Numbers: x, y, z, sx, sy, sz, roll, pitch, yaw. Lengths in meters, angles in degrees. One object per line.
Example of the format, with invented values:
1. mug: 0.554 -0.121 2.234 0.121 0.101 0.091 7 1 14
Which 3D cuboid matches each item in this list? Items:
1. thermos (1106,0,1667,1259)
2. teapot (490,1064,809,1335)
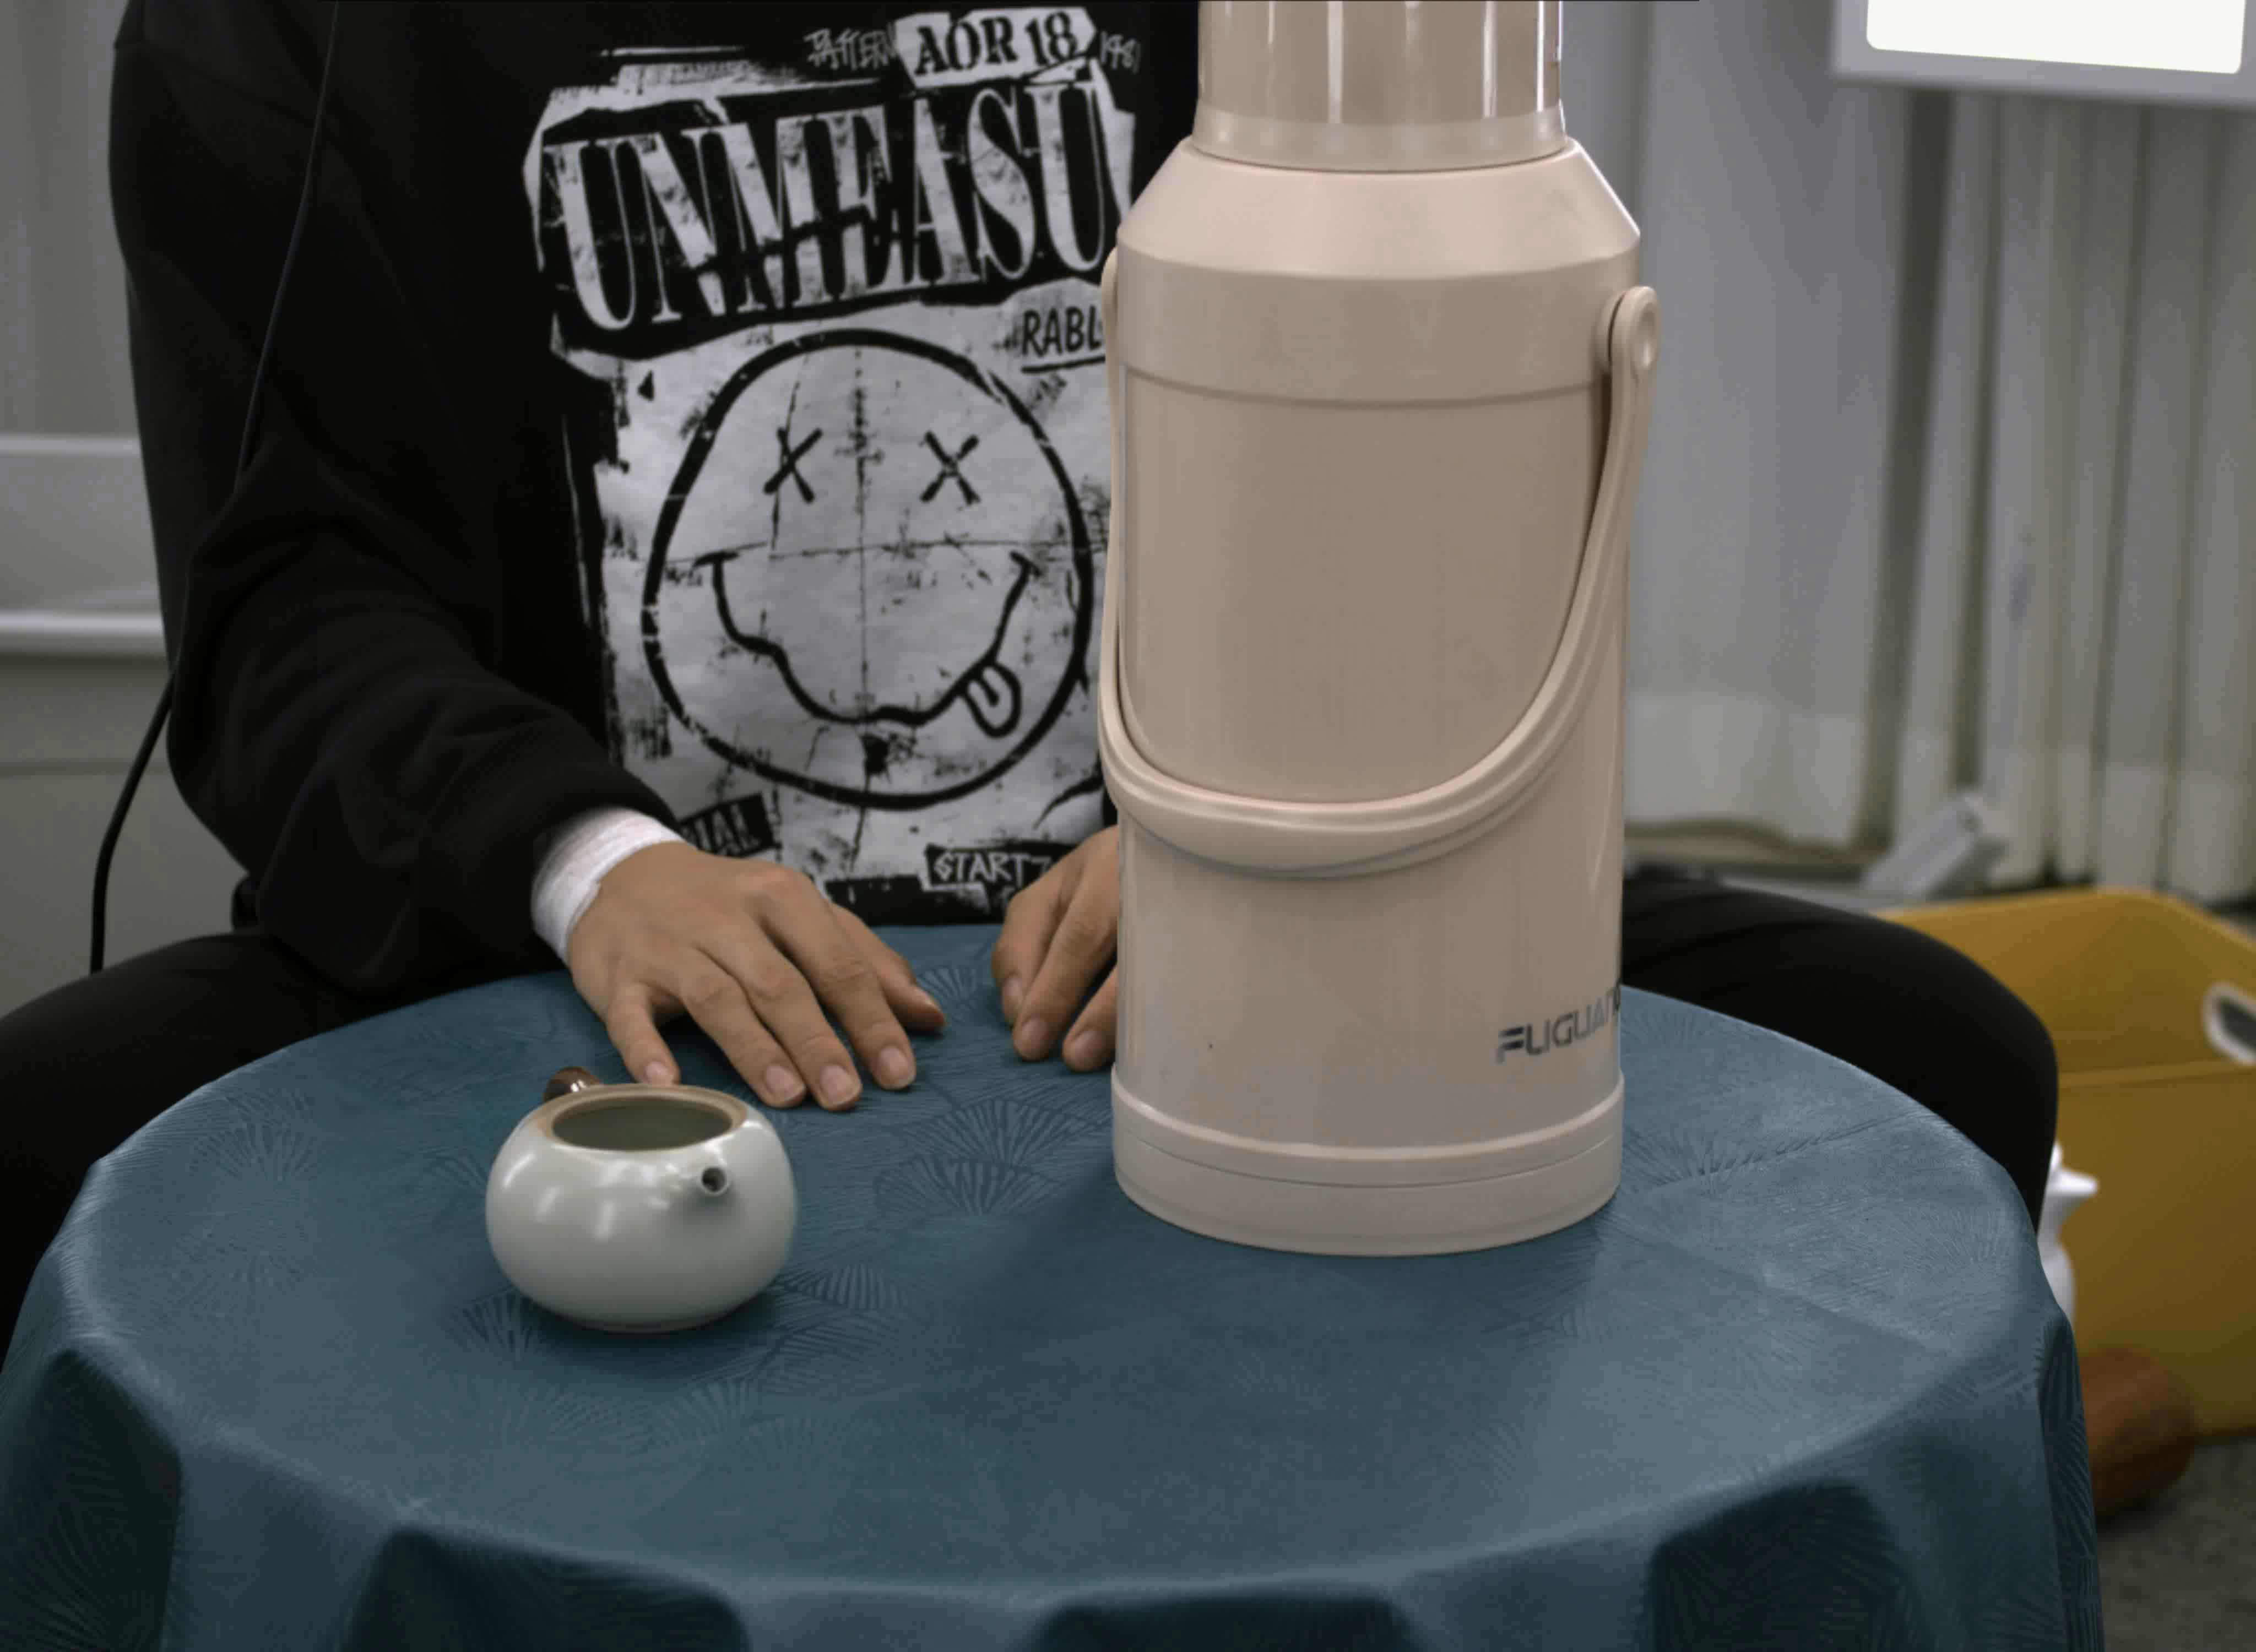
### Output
1. thermos: 0.084 -0.087 1.597 0.173 0.410 0.207 7 18 26
2. teapot: -0.143 0.107 1.526 0.092 0.060 0.126 -13 21 -27
